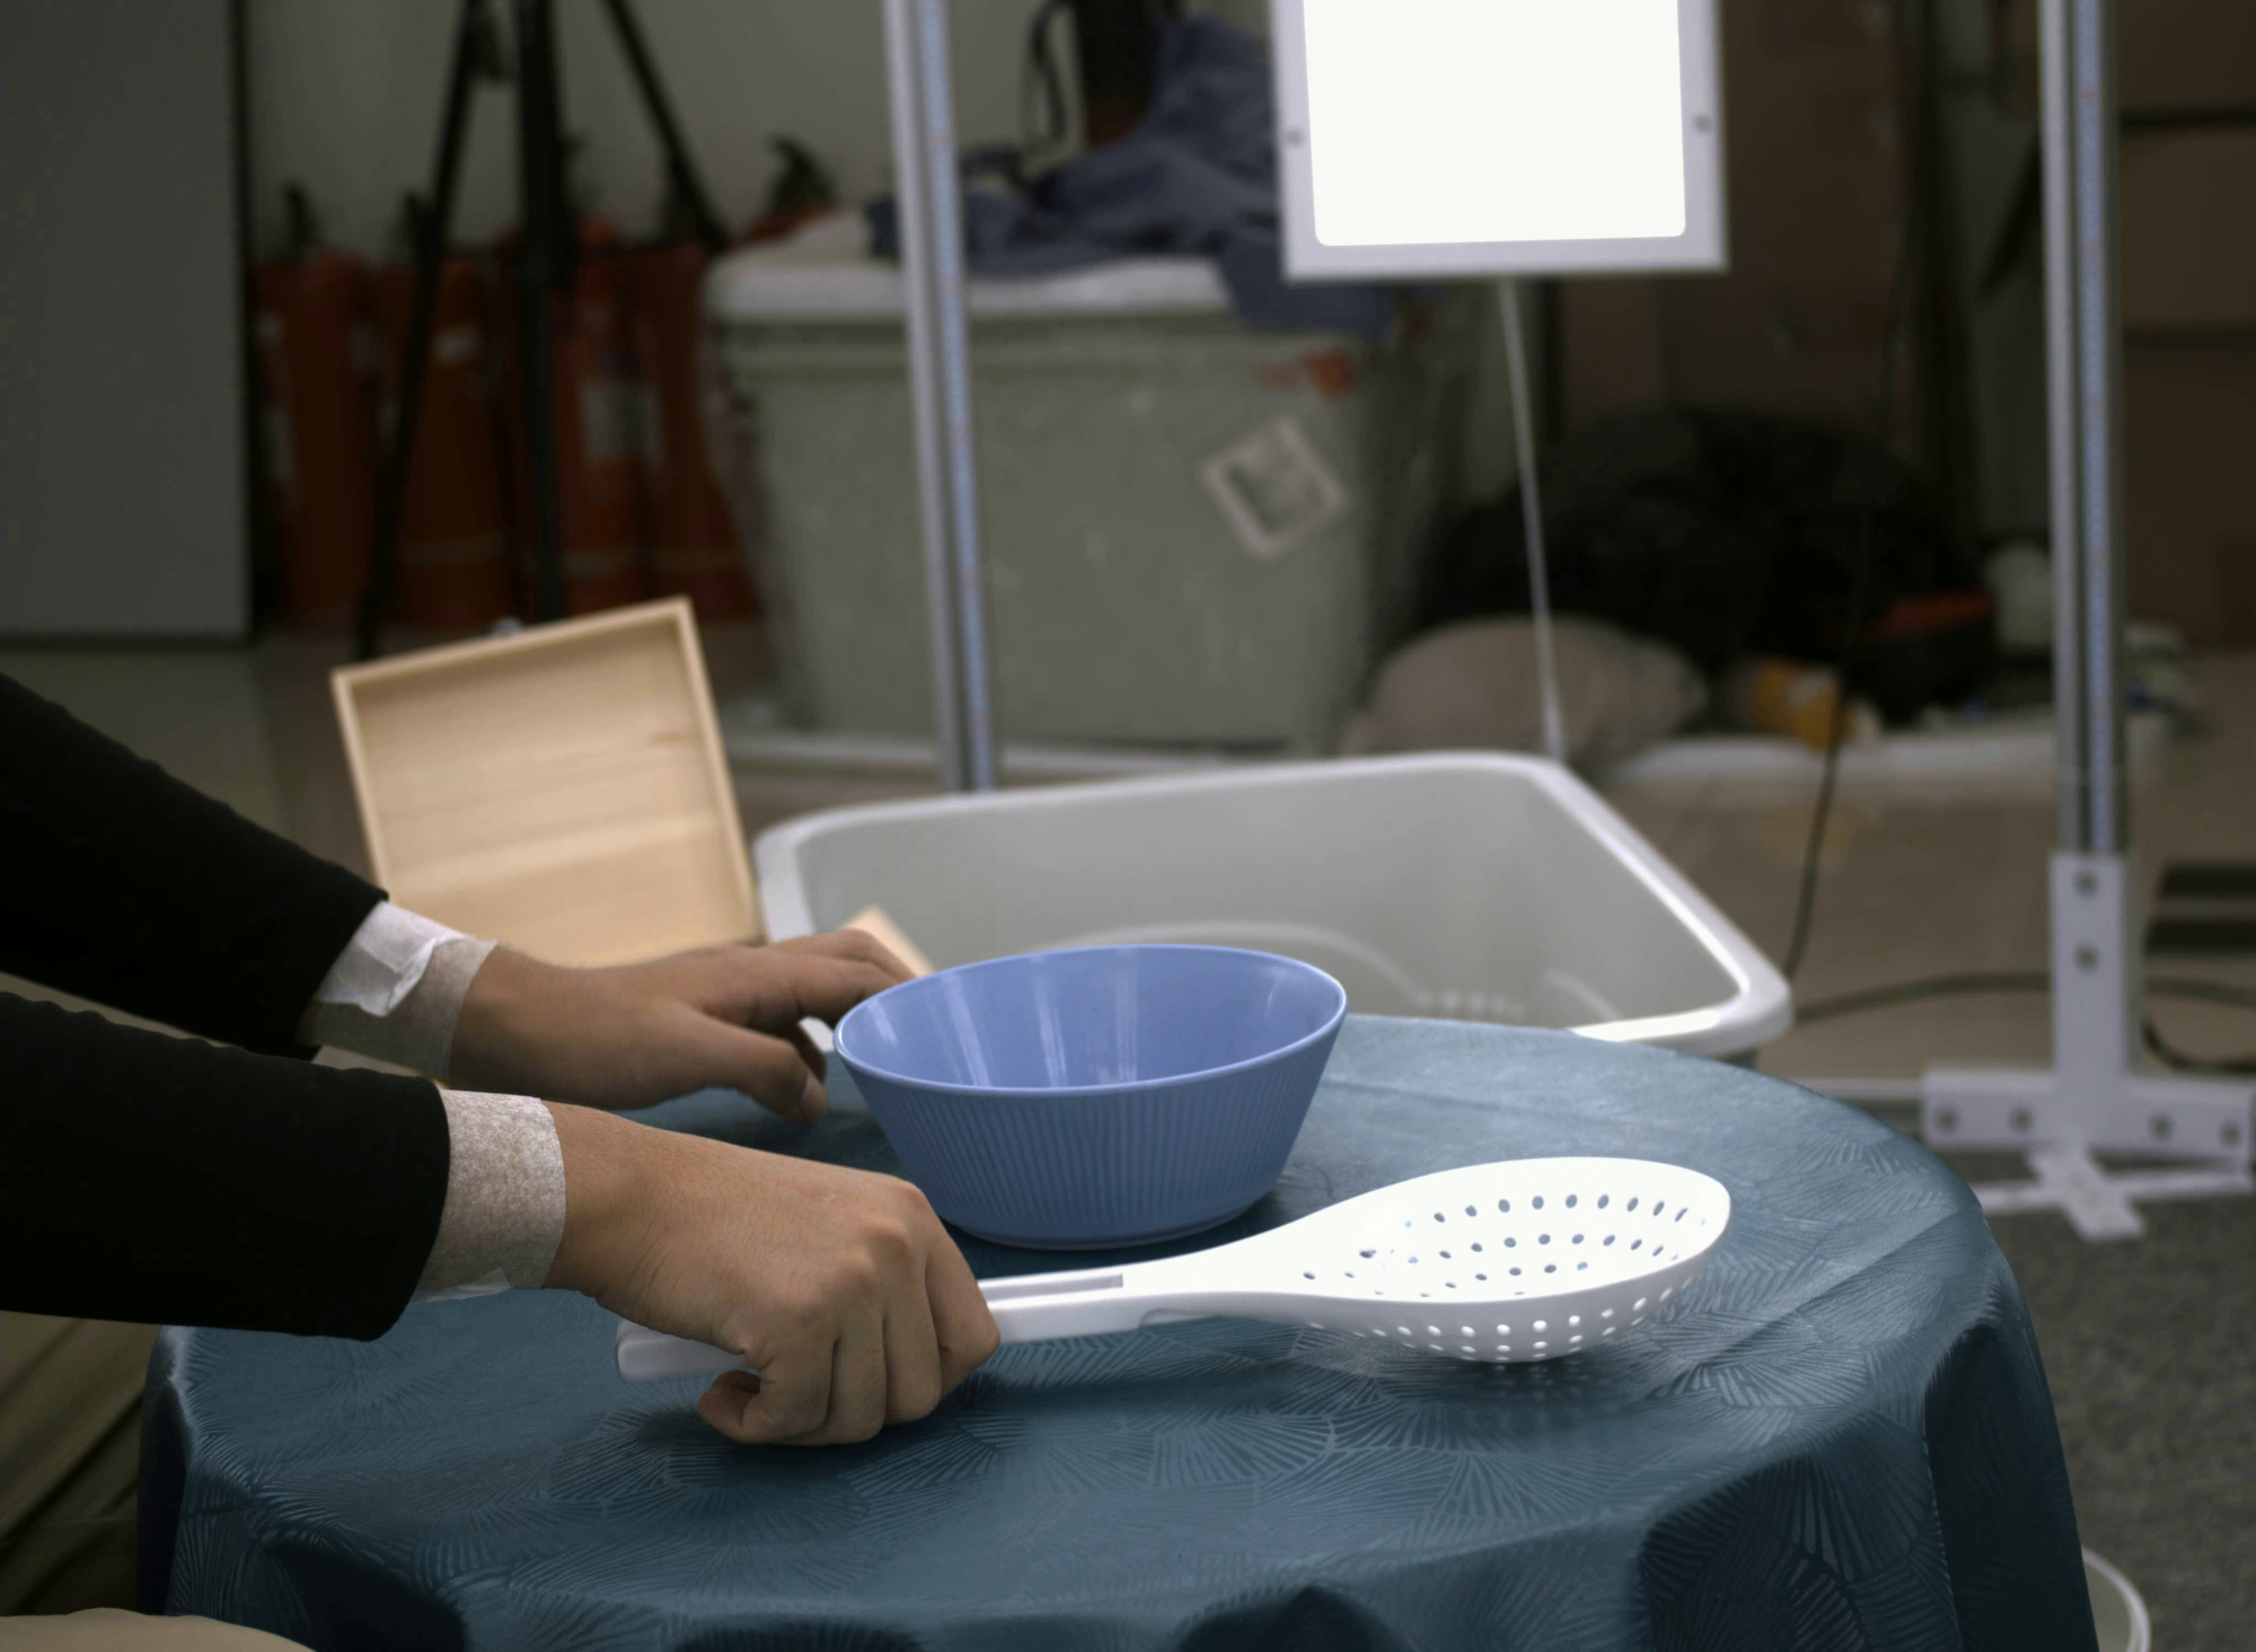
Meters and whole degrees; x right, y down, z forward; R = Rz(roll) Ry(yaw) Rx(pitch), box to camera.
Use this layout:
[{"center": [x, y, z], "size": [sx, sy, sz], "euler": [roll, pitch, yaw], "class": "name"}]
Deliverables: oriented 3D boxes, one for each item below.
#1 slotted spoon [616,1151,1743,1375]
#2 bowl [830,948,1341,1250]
[{"center": [0.016, 0.142, 1.704], "size": [0.349, 0.046, 0.135], "euler": [-2, 15, 1], "class": "slotted spoon"}, {"center": [-0.012, 0.096, 1.883], "size": [0.175, 0.070, 0.176], "euler": [-6, 14, 0], "class": "bowl"}]
